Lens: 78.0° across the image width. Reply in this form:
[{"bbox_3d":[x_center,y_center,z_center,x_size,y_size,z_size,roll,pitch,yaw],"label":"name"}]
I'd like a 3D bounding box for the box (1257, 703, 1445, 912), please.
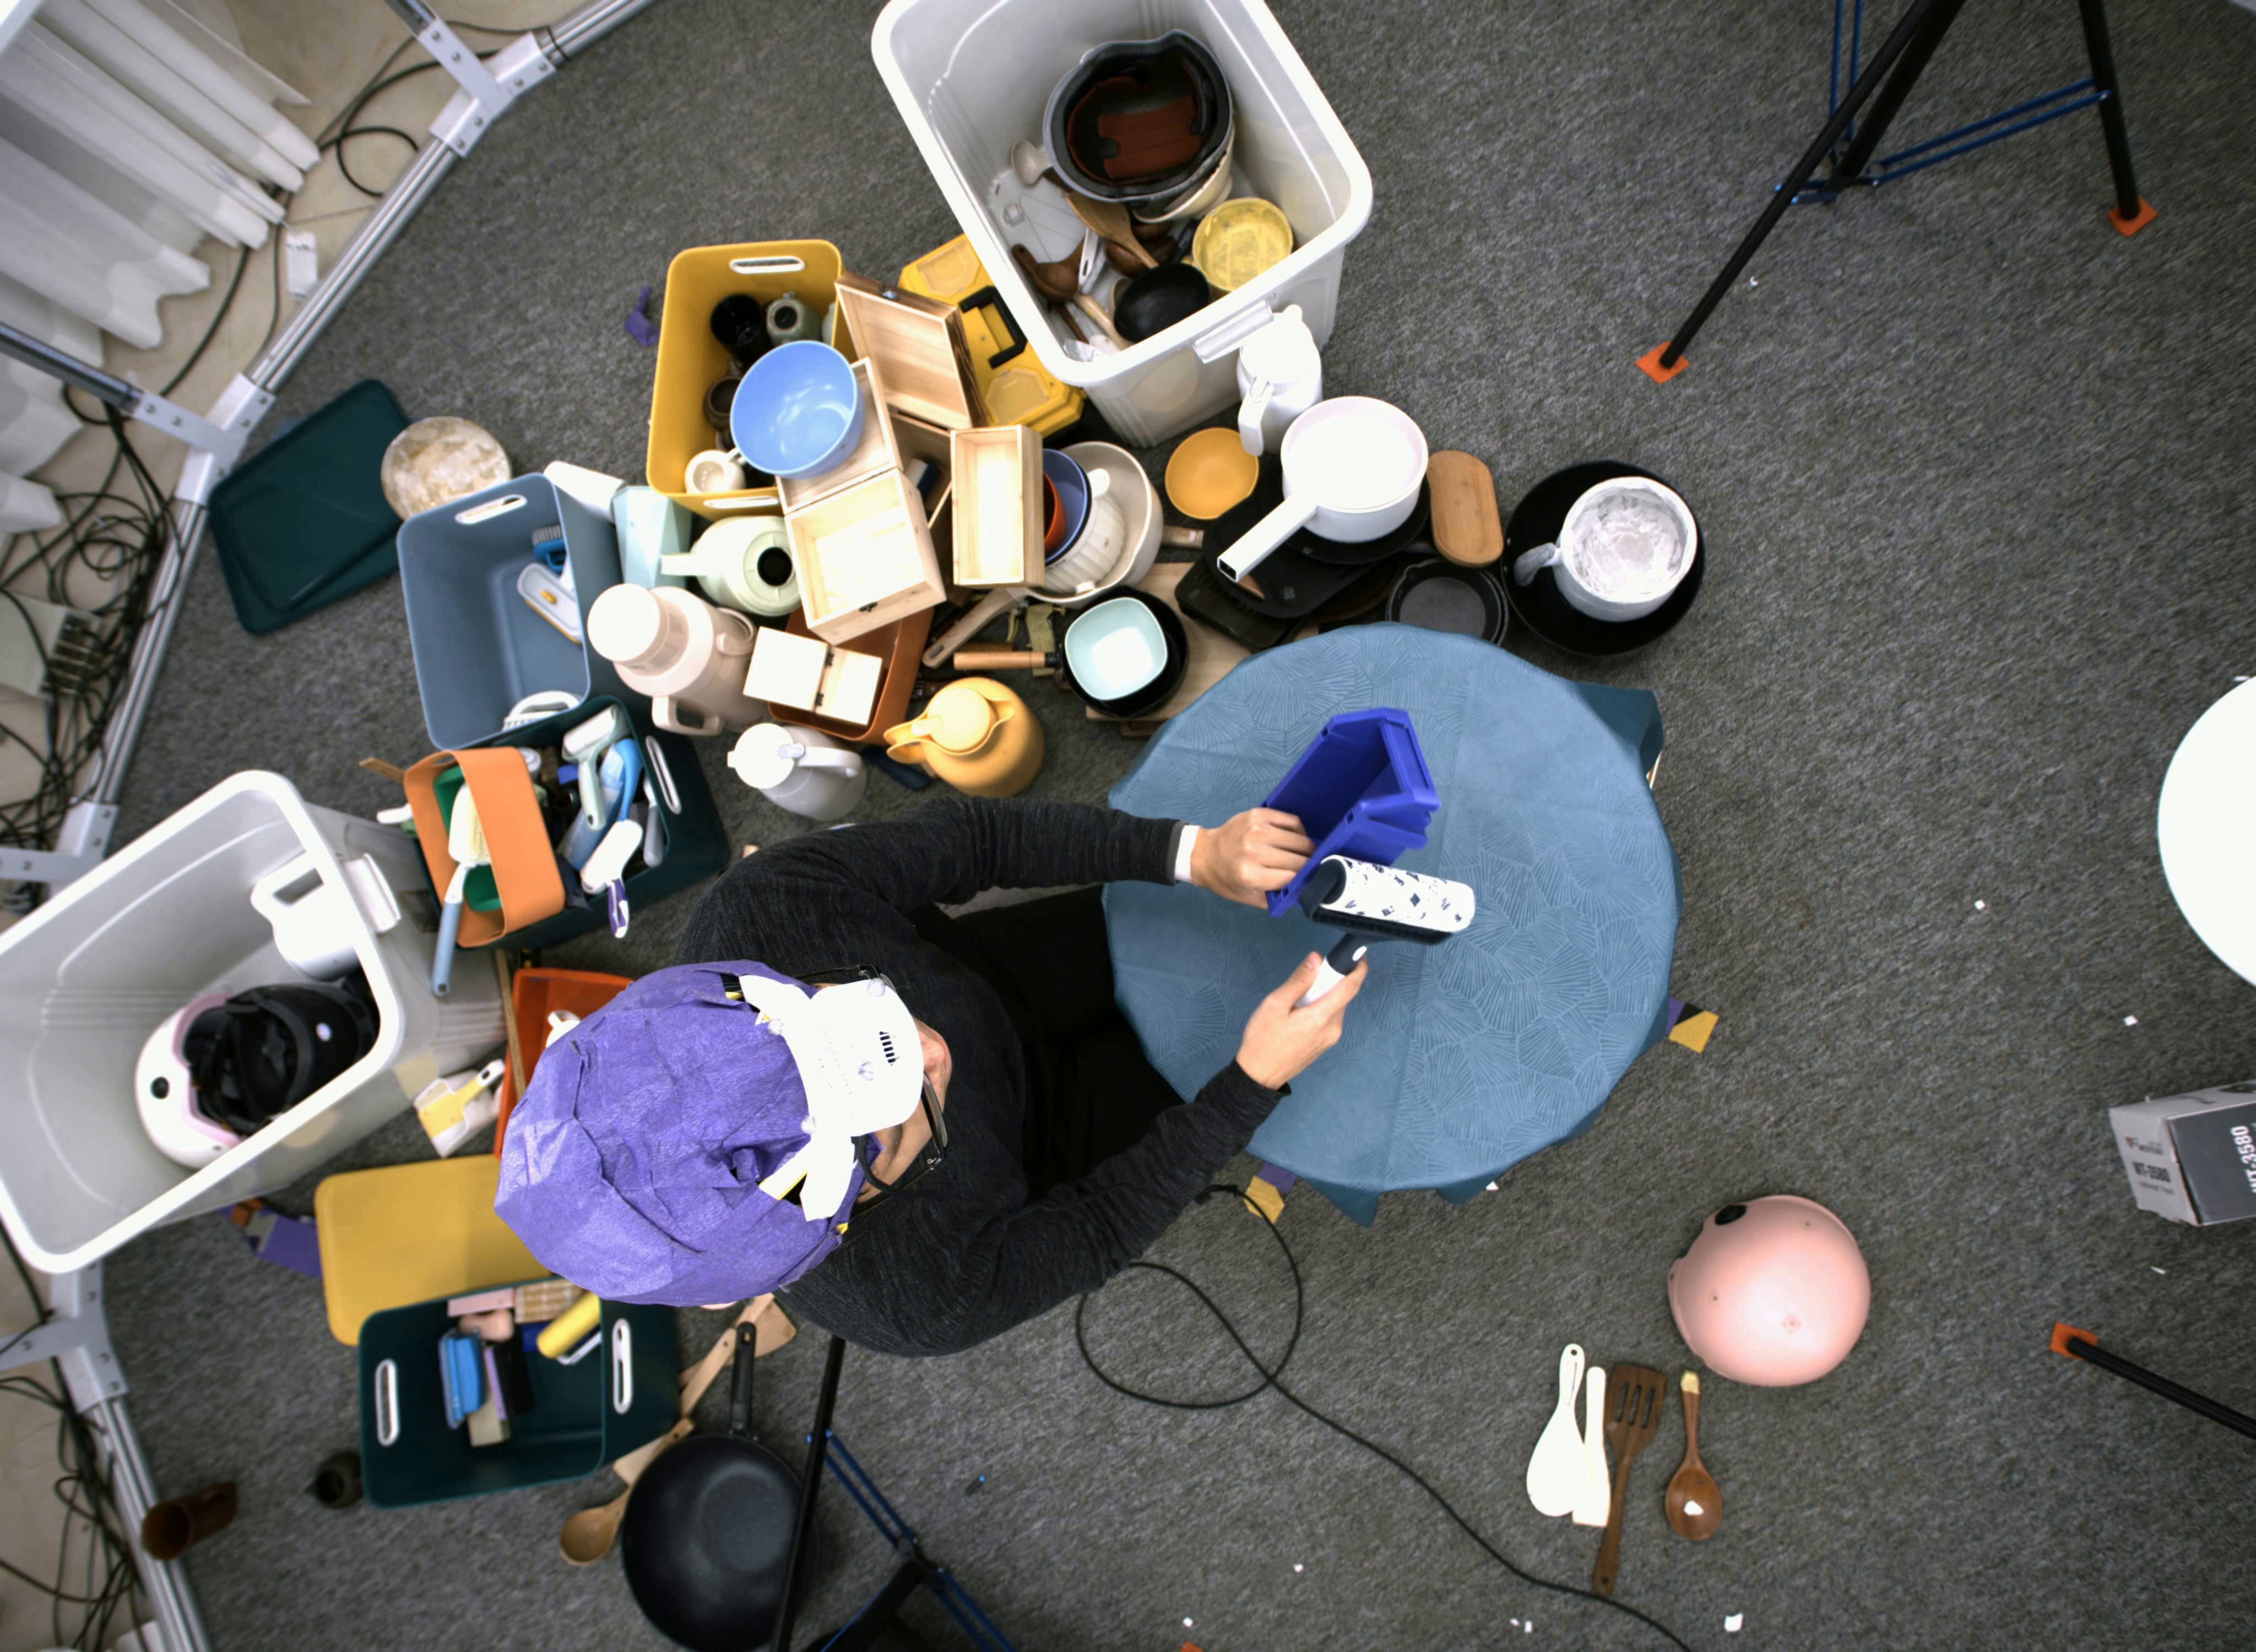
[{"bbox_3d":[0.203,-0.016,1.253,0.082,0.184,0.121,14,46,-22],"label":"box"}]

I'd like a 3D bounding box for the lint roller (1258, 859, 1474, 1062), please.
[{"bbox_3d":[0.196,0.138,1.290,0.252,0.176,0.049,-59,39,29],"label":"lint roller"}]
